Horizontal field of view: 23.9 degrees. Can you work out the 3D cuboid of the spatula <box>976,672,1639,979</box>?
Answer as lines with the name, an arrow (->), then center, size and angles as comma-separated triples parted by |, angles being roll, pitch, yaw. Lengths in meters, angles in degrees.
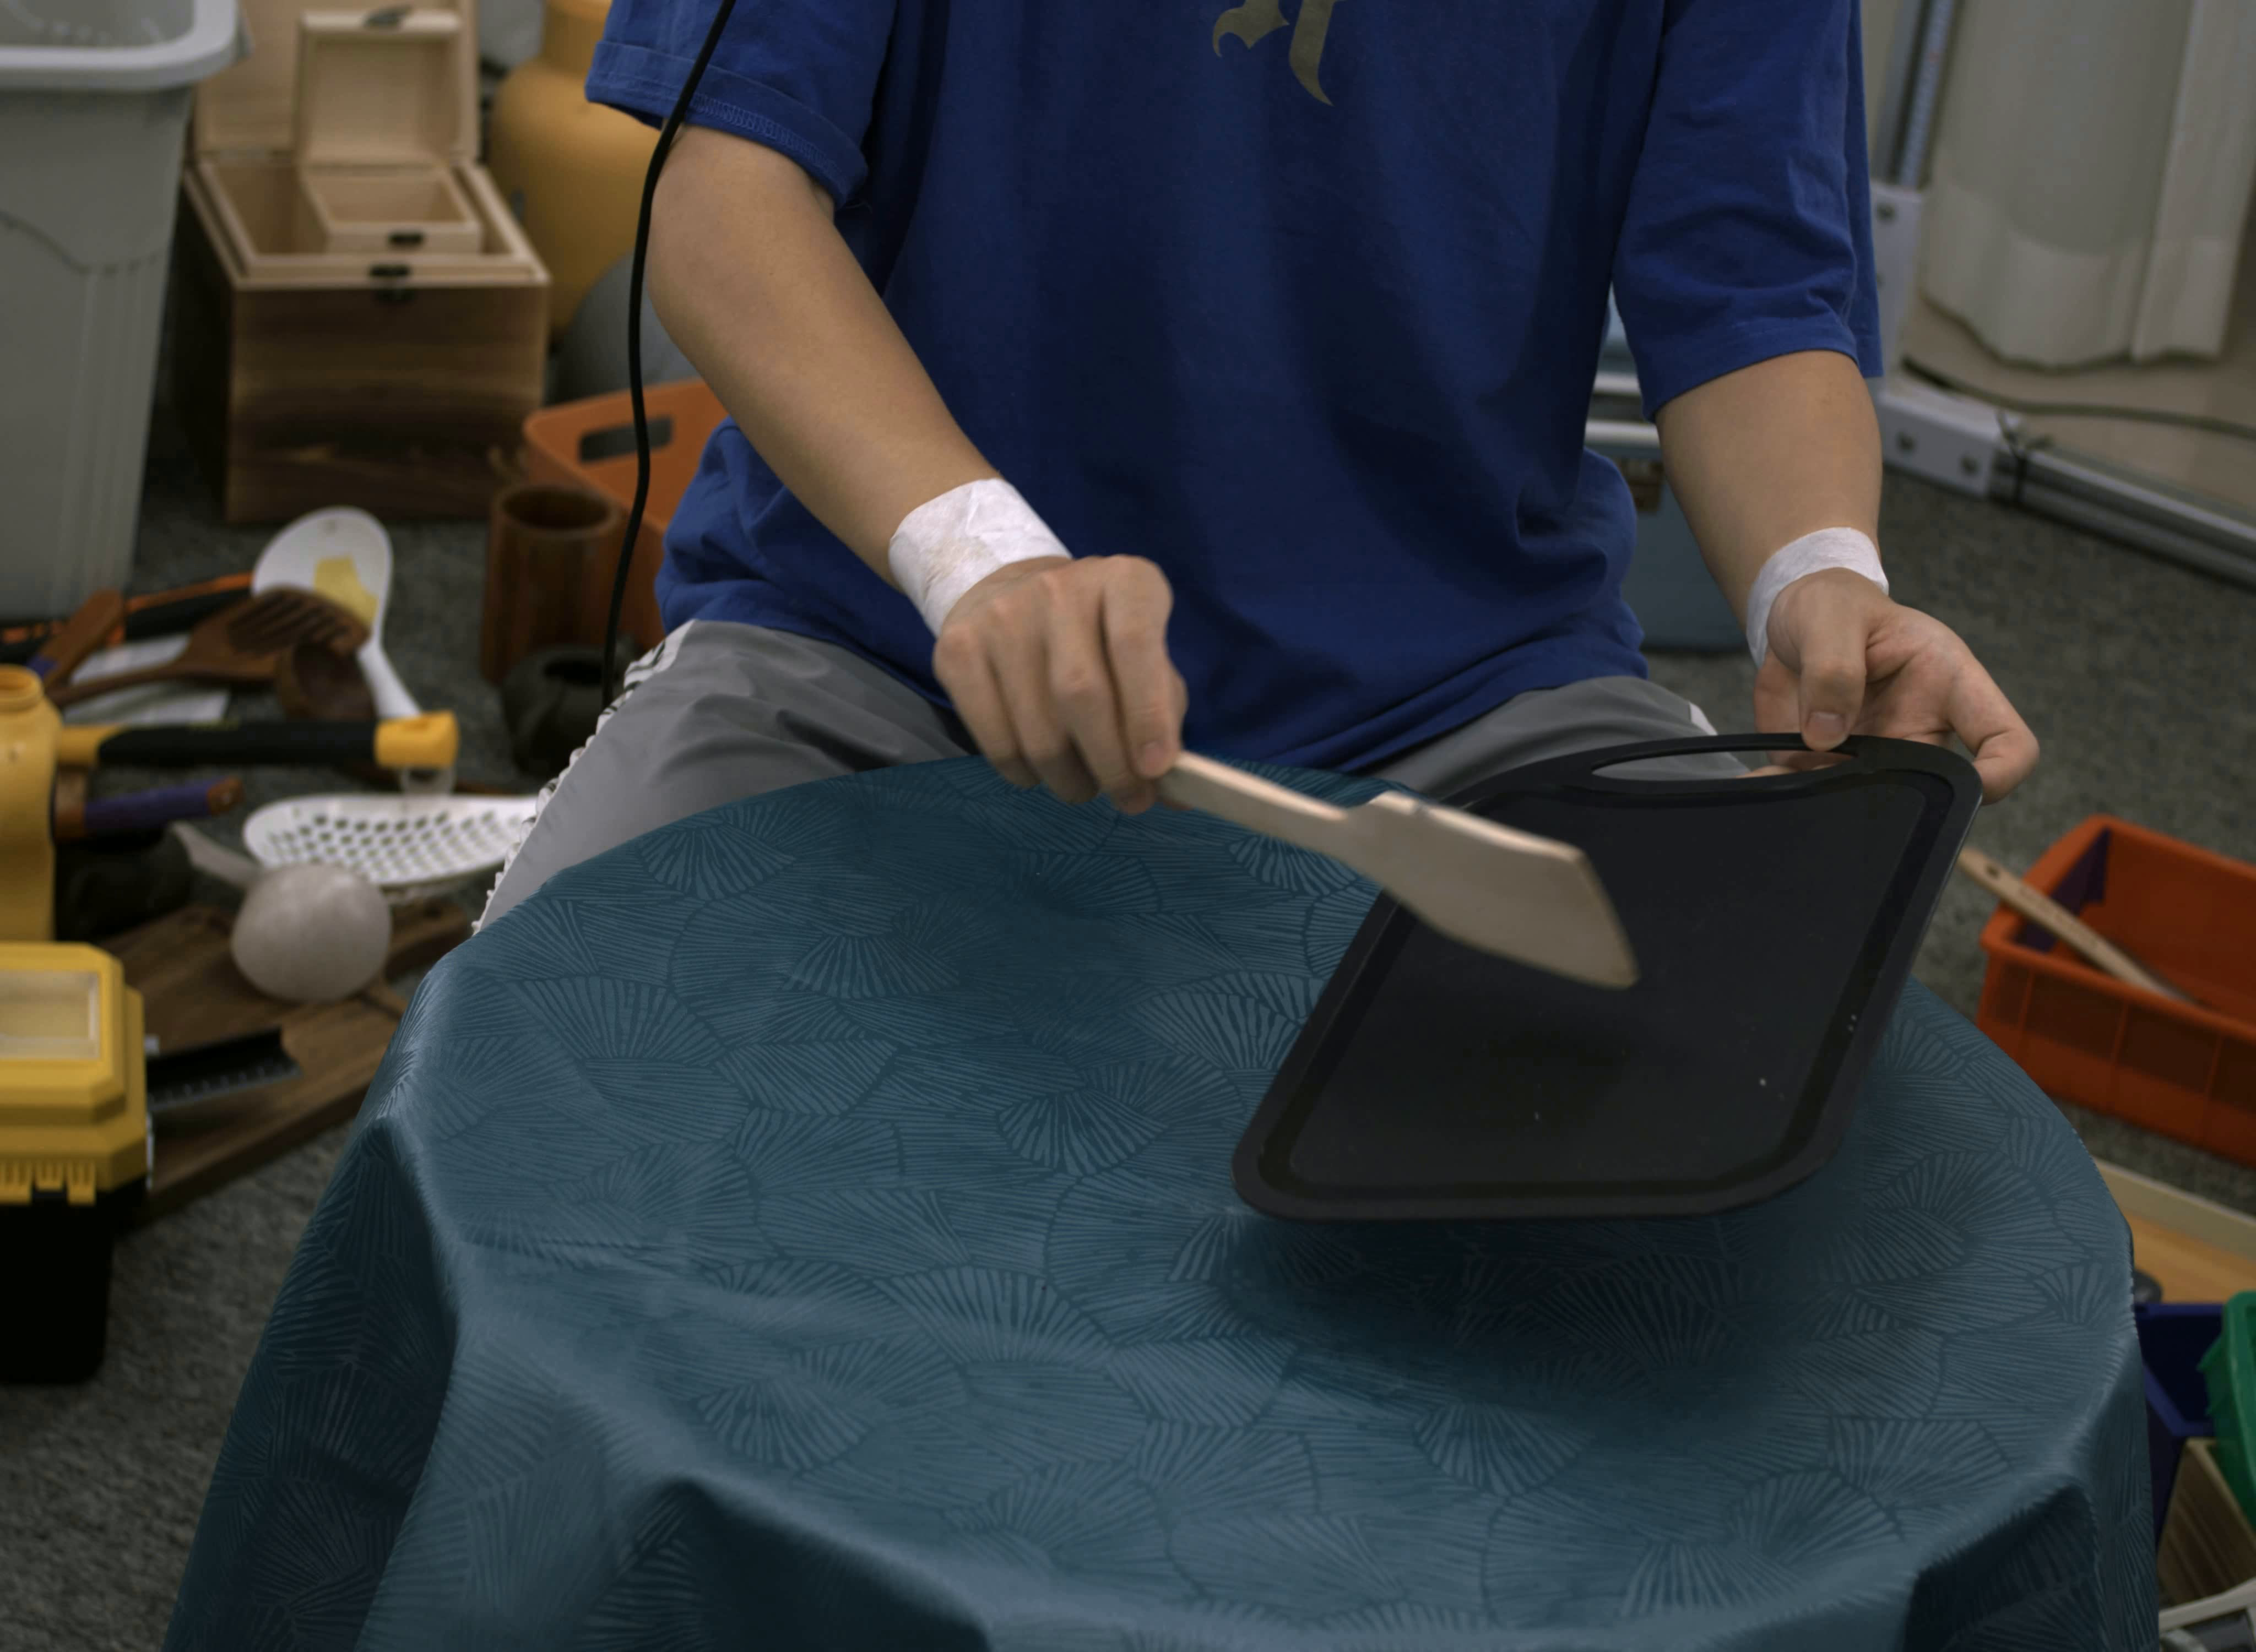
spatula -> 0.052, -0.009, 1.840 | 0.295, 0.071, 0.010 | 21, 61, 40

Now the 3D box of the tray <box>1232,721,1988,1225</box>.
tray -> 0.170, 0.044, 1.818 | 0.211, 0.010, 0.326 | -3, 29, 25
